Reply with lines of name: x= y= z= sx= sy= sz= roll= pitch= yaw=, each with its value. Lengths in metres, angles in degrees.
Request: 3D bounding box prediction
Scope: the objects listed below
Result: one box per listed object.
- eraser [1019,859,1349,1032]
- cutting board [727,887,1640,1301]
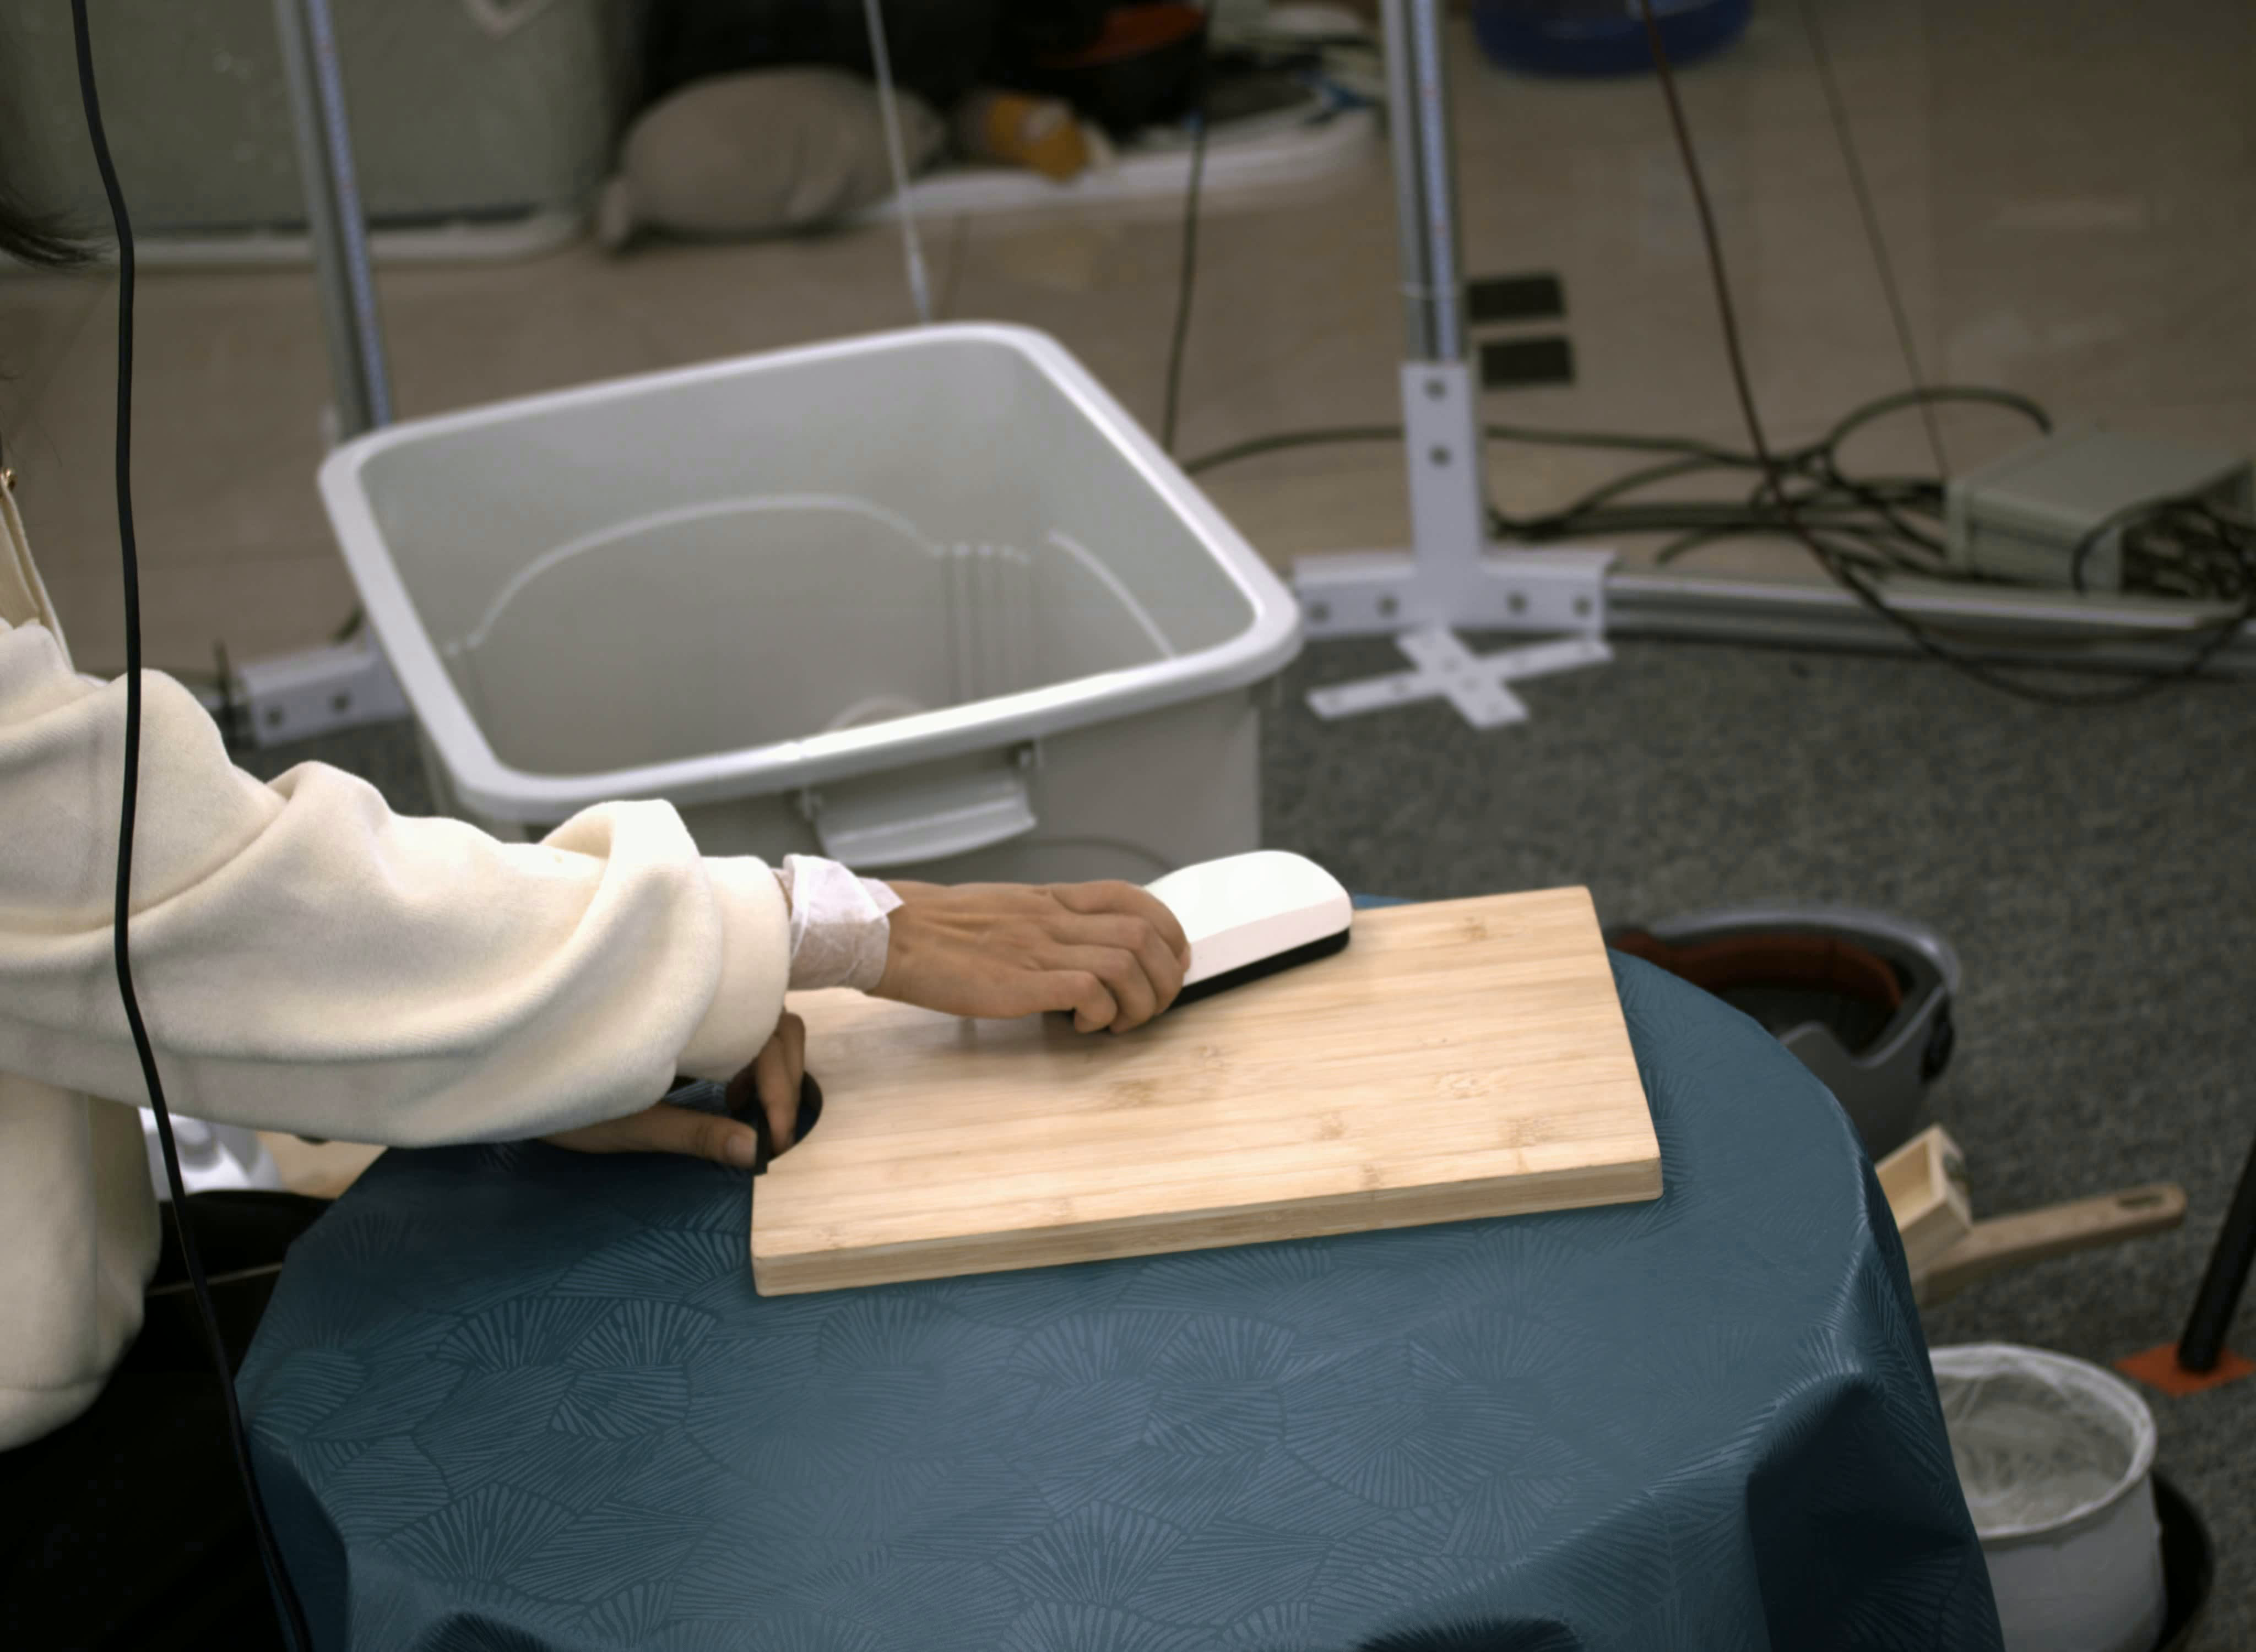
eraser: x=0.023 y=0.044 z=2.267 sx=0.130 sy=0.035 sz=0.062 roll=-17 pitch=27 yaw=-23
cutting board: x=0.019 y=0.102 z=2.206 sx=0.348 sy=0.024 sz=0.247 roll=-7 pitch=25 yaw=0
